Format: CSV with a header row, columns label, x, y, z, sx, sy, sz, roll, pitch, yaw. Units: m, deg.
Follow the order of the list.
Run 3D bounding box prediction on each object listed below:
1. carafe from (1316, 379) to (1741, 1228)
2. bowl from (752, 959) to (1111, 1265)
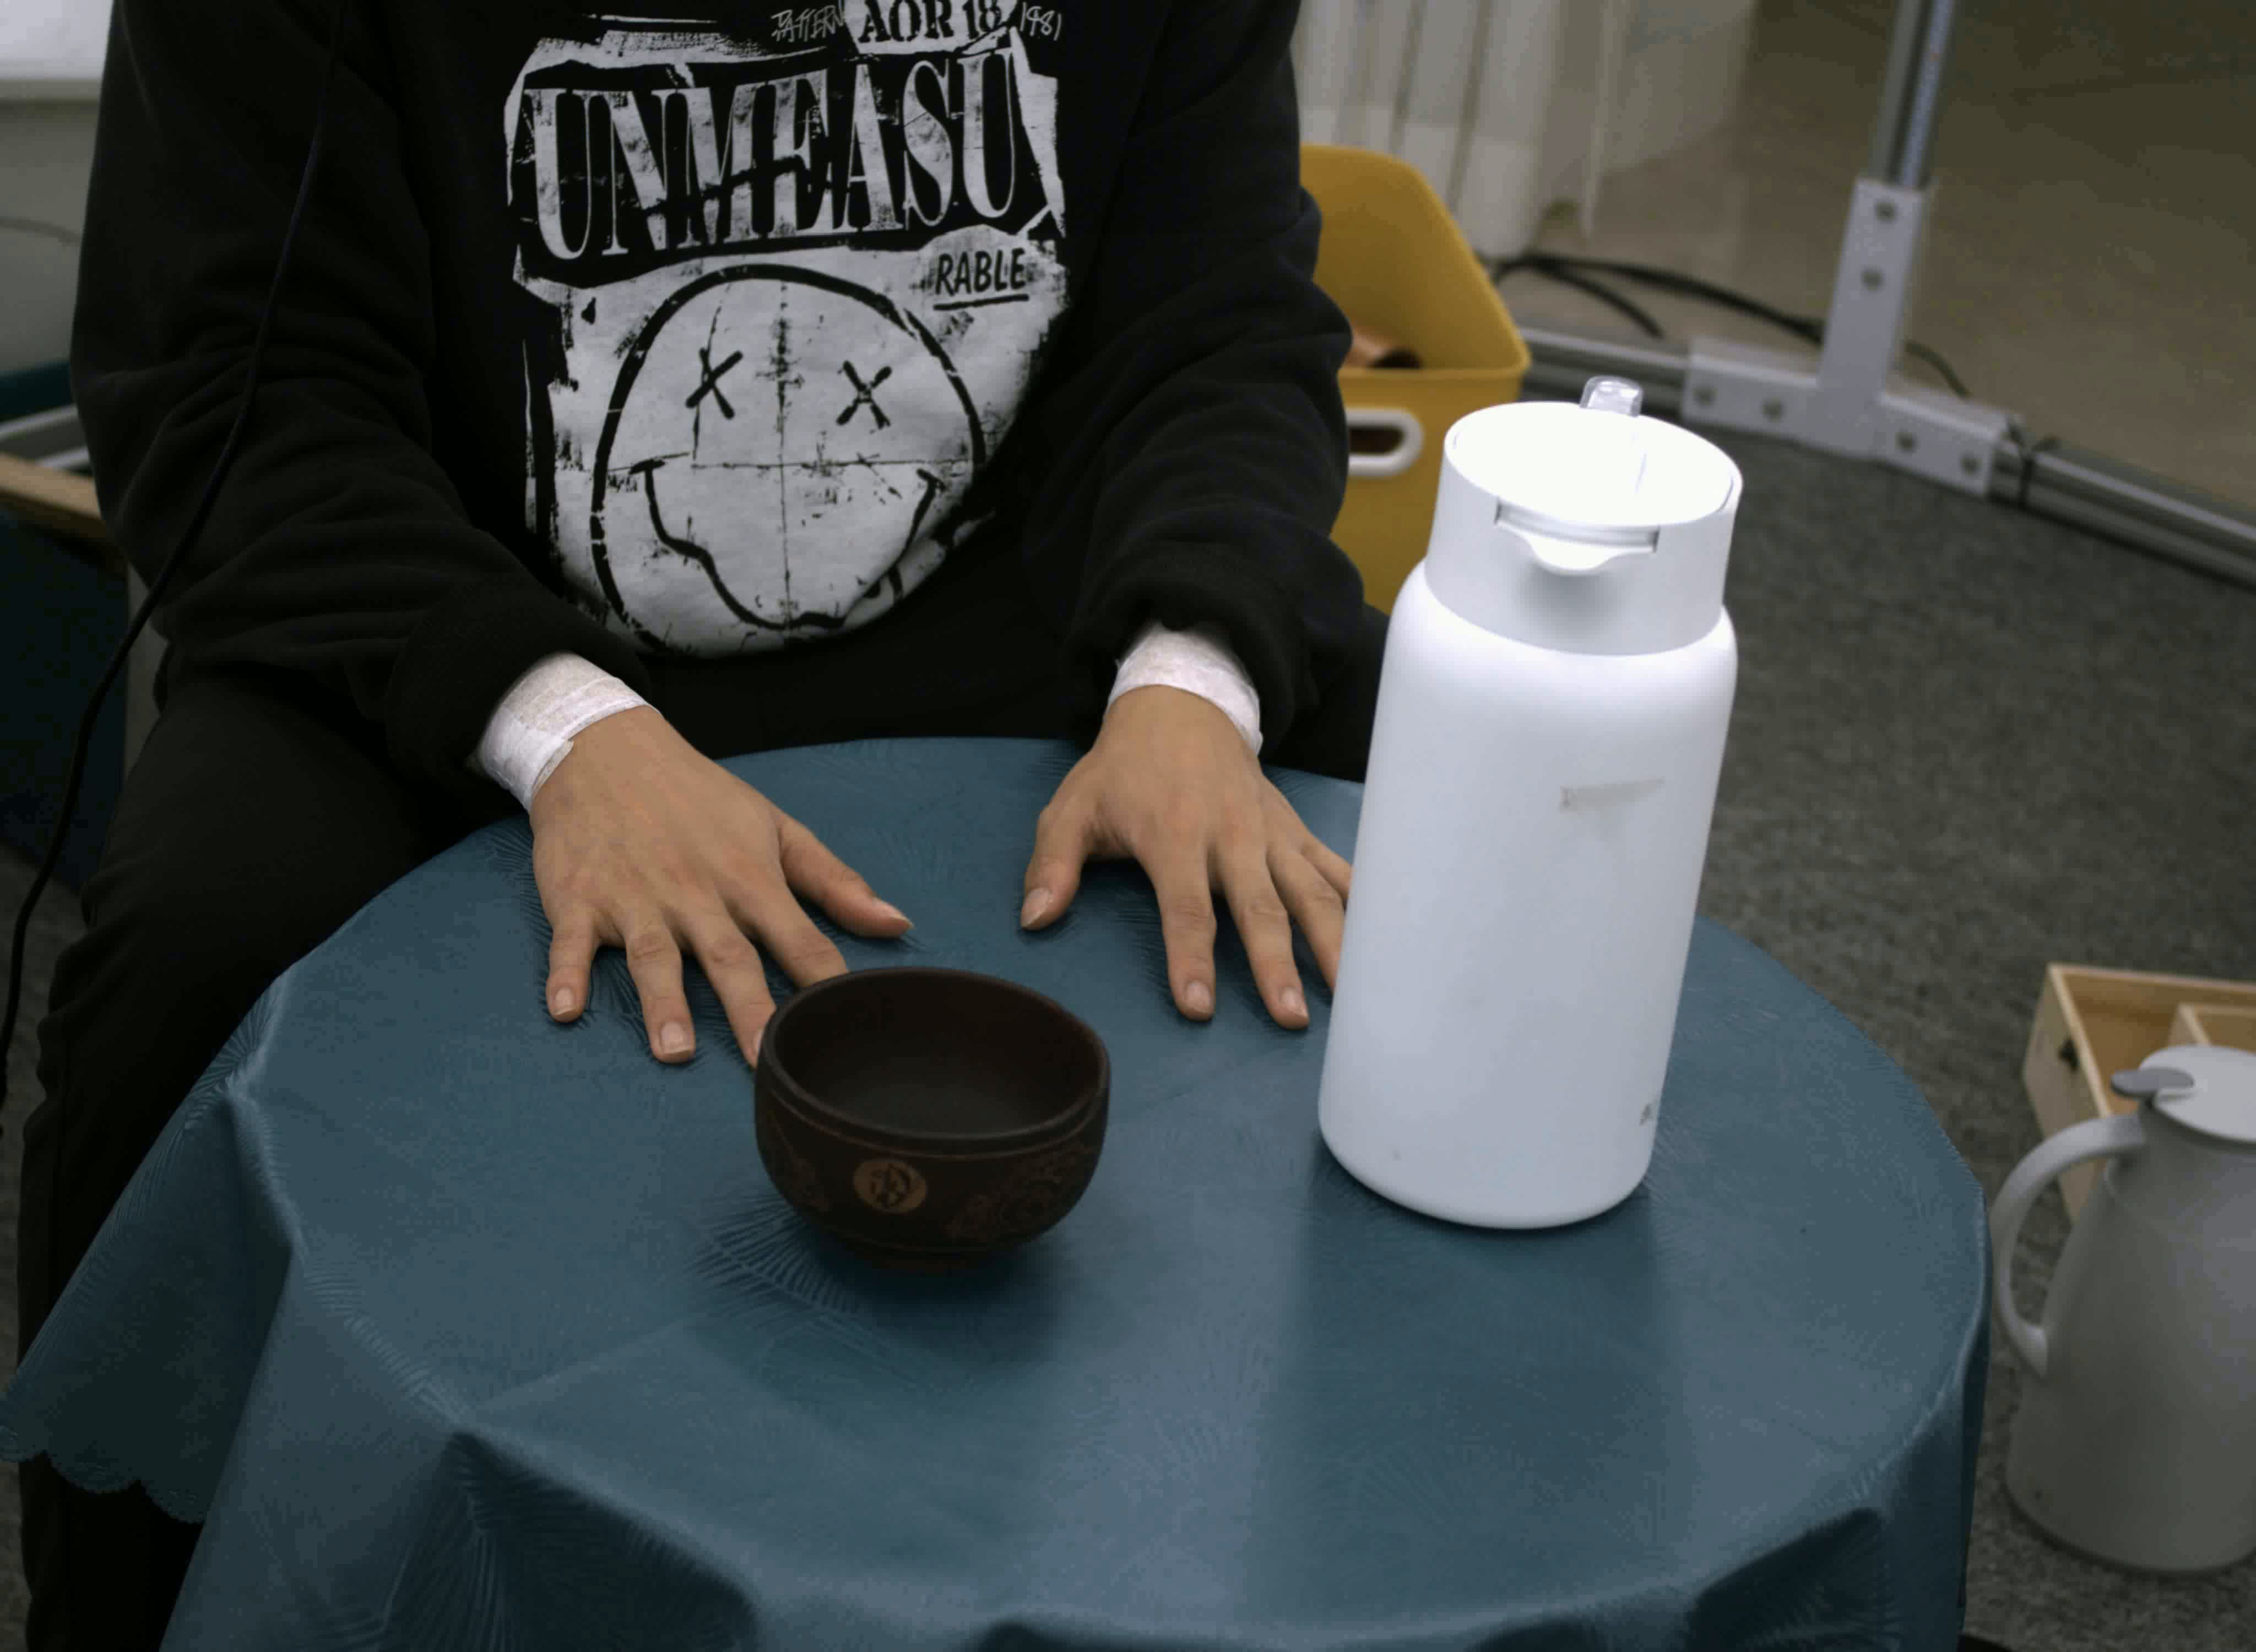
label,x,y,z,sx,sy,sz,roll,pitch,yaw
carafe,0.138,-0.012,1.809,0.124,0.268,0.173,8,26,7
bowl,-0.066,0.101,1.754,0.117,0.069,0.119,5,26,-3
